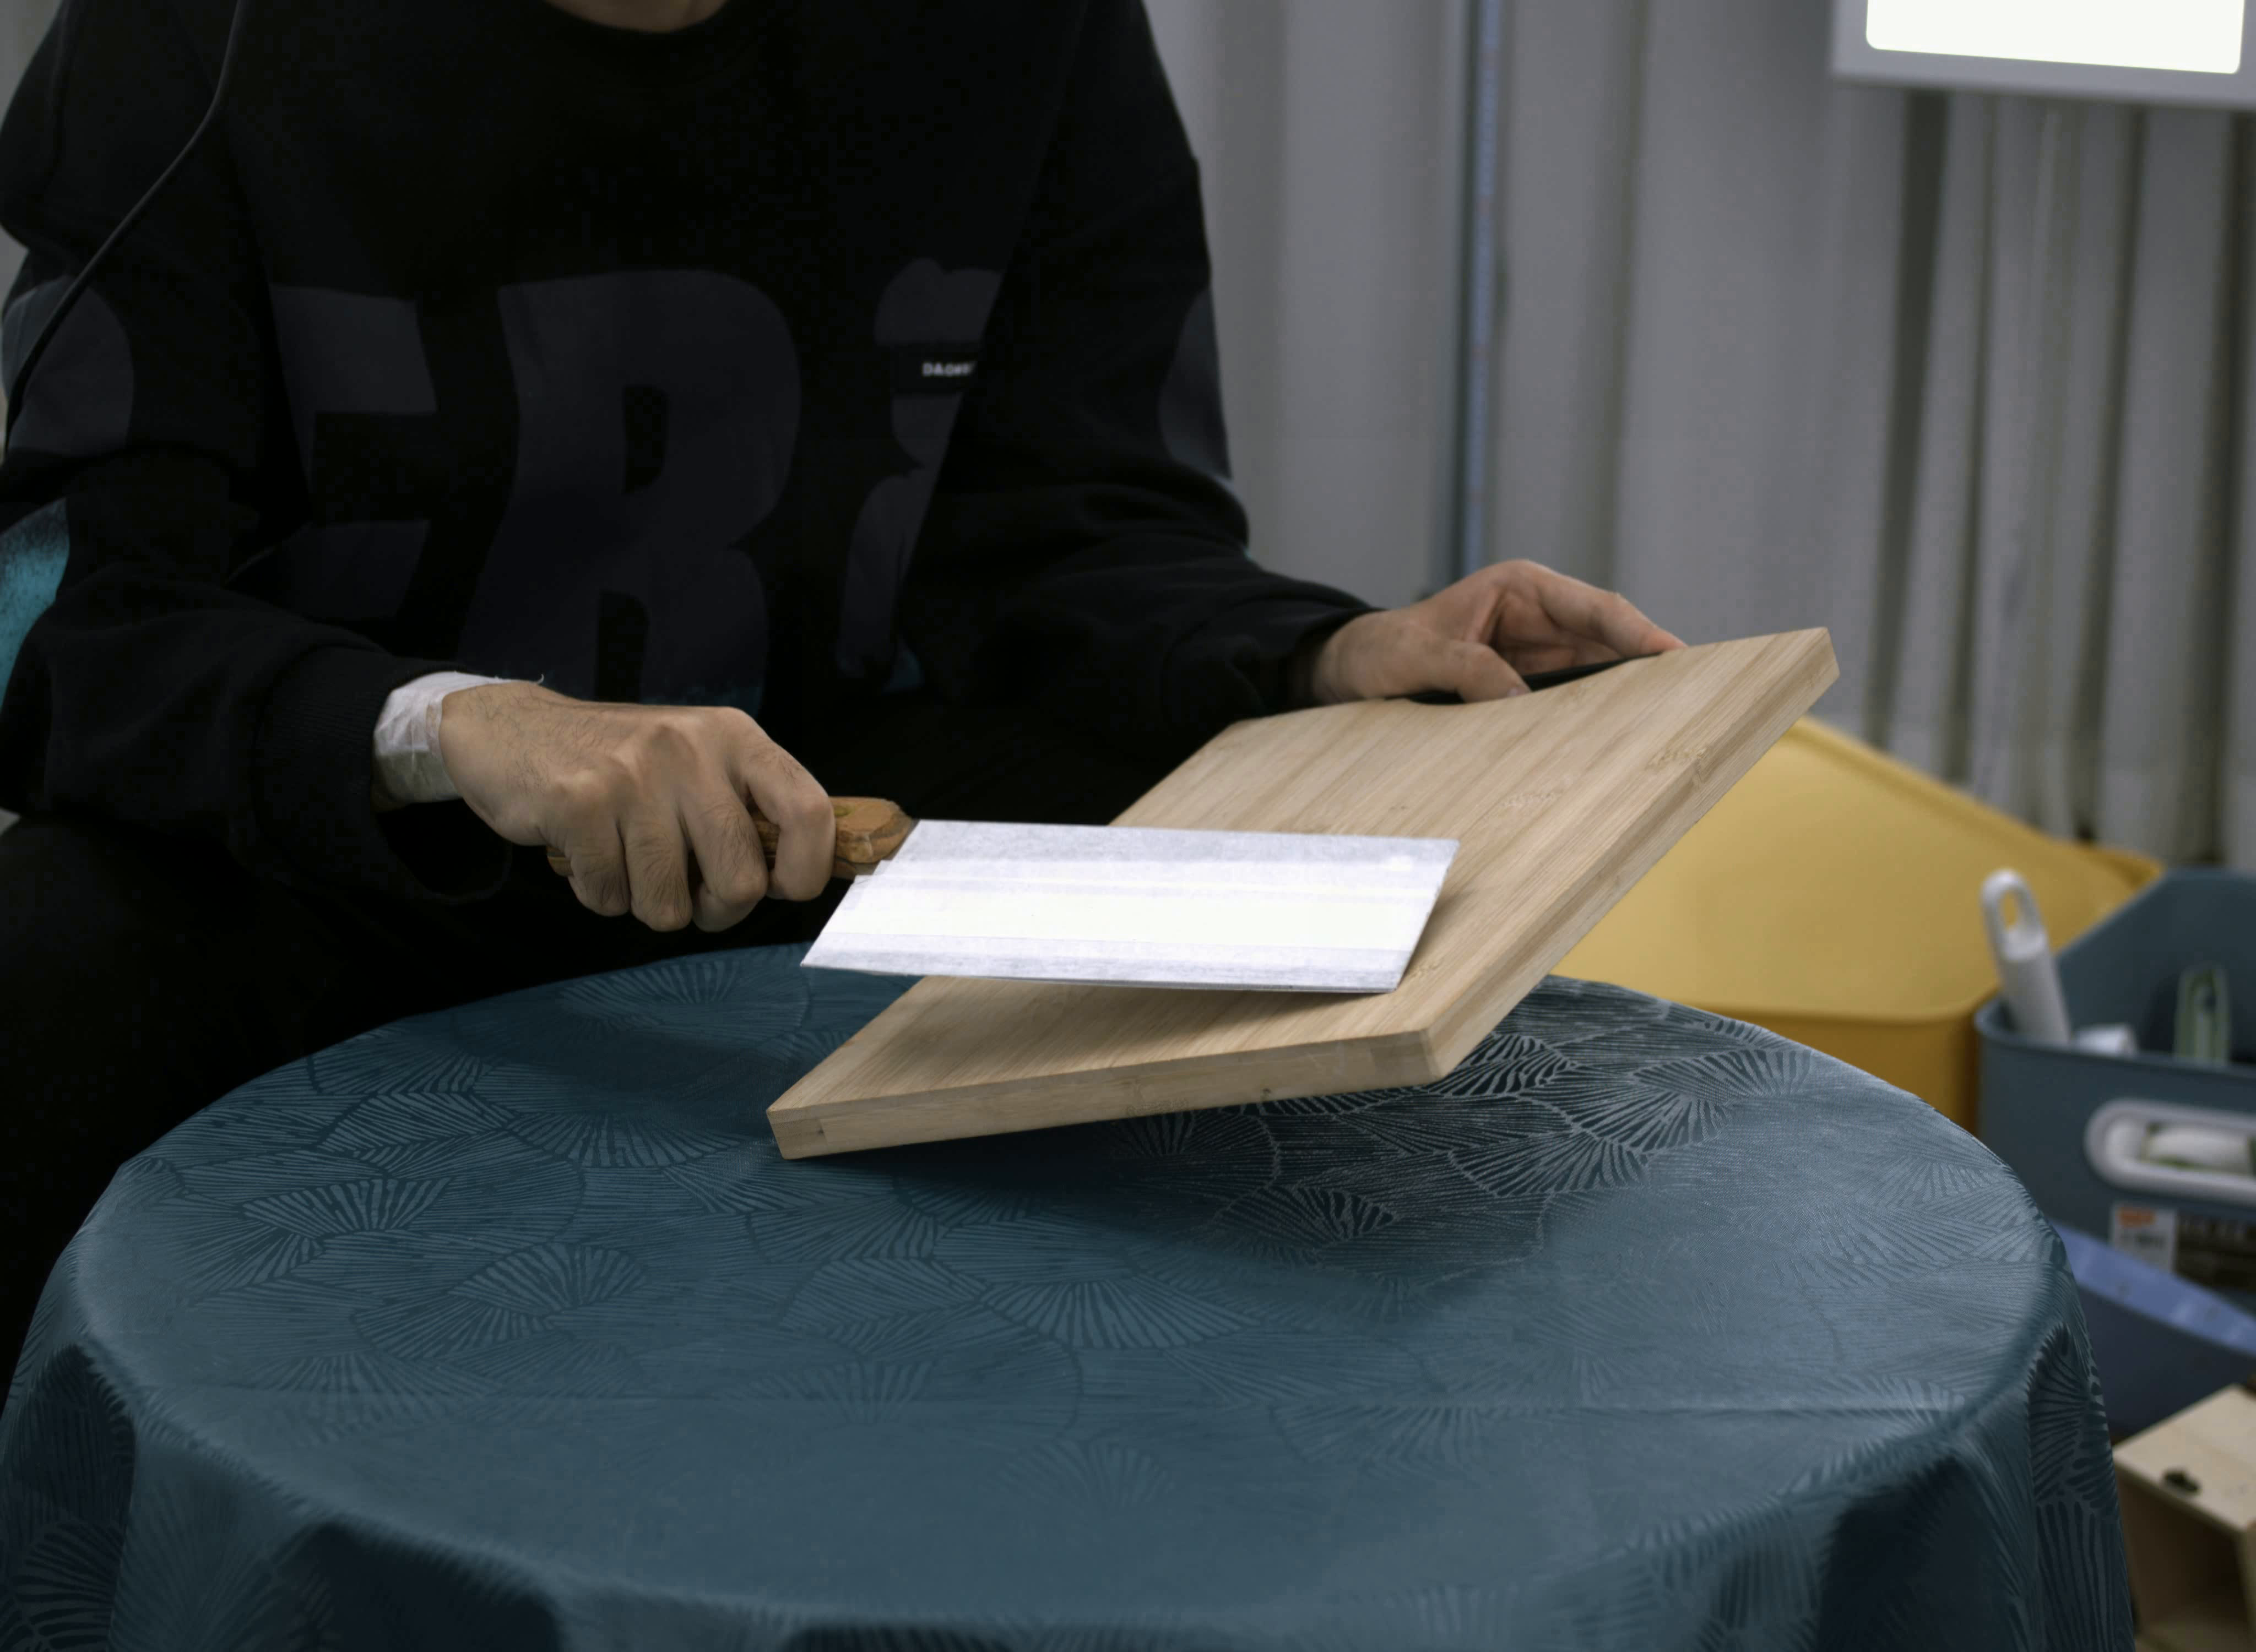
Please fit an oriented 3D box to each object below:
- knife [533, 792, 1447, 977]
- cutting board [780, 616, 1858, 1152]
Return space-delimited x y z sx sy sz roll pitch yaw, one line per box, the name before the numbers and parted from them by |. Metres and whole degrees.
knife | -0.053 0.020 1.642 0.303 0.021 0.092 2 32 17
cutting board | 0.069 0.017 1.726 0.248 0.024 0.348 -9 18 31
